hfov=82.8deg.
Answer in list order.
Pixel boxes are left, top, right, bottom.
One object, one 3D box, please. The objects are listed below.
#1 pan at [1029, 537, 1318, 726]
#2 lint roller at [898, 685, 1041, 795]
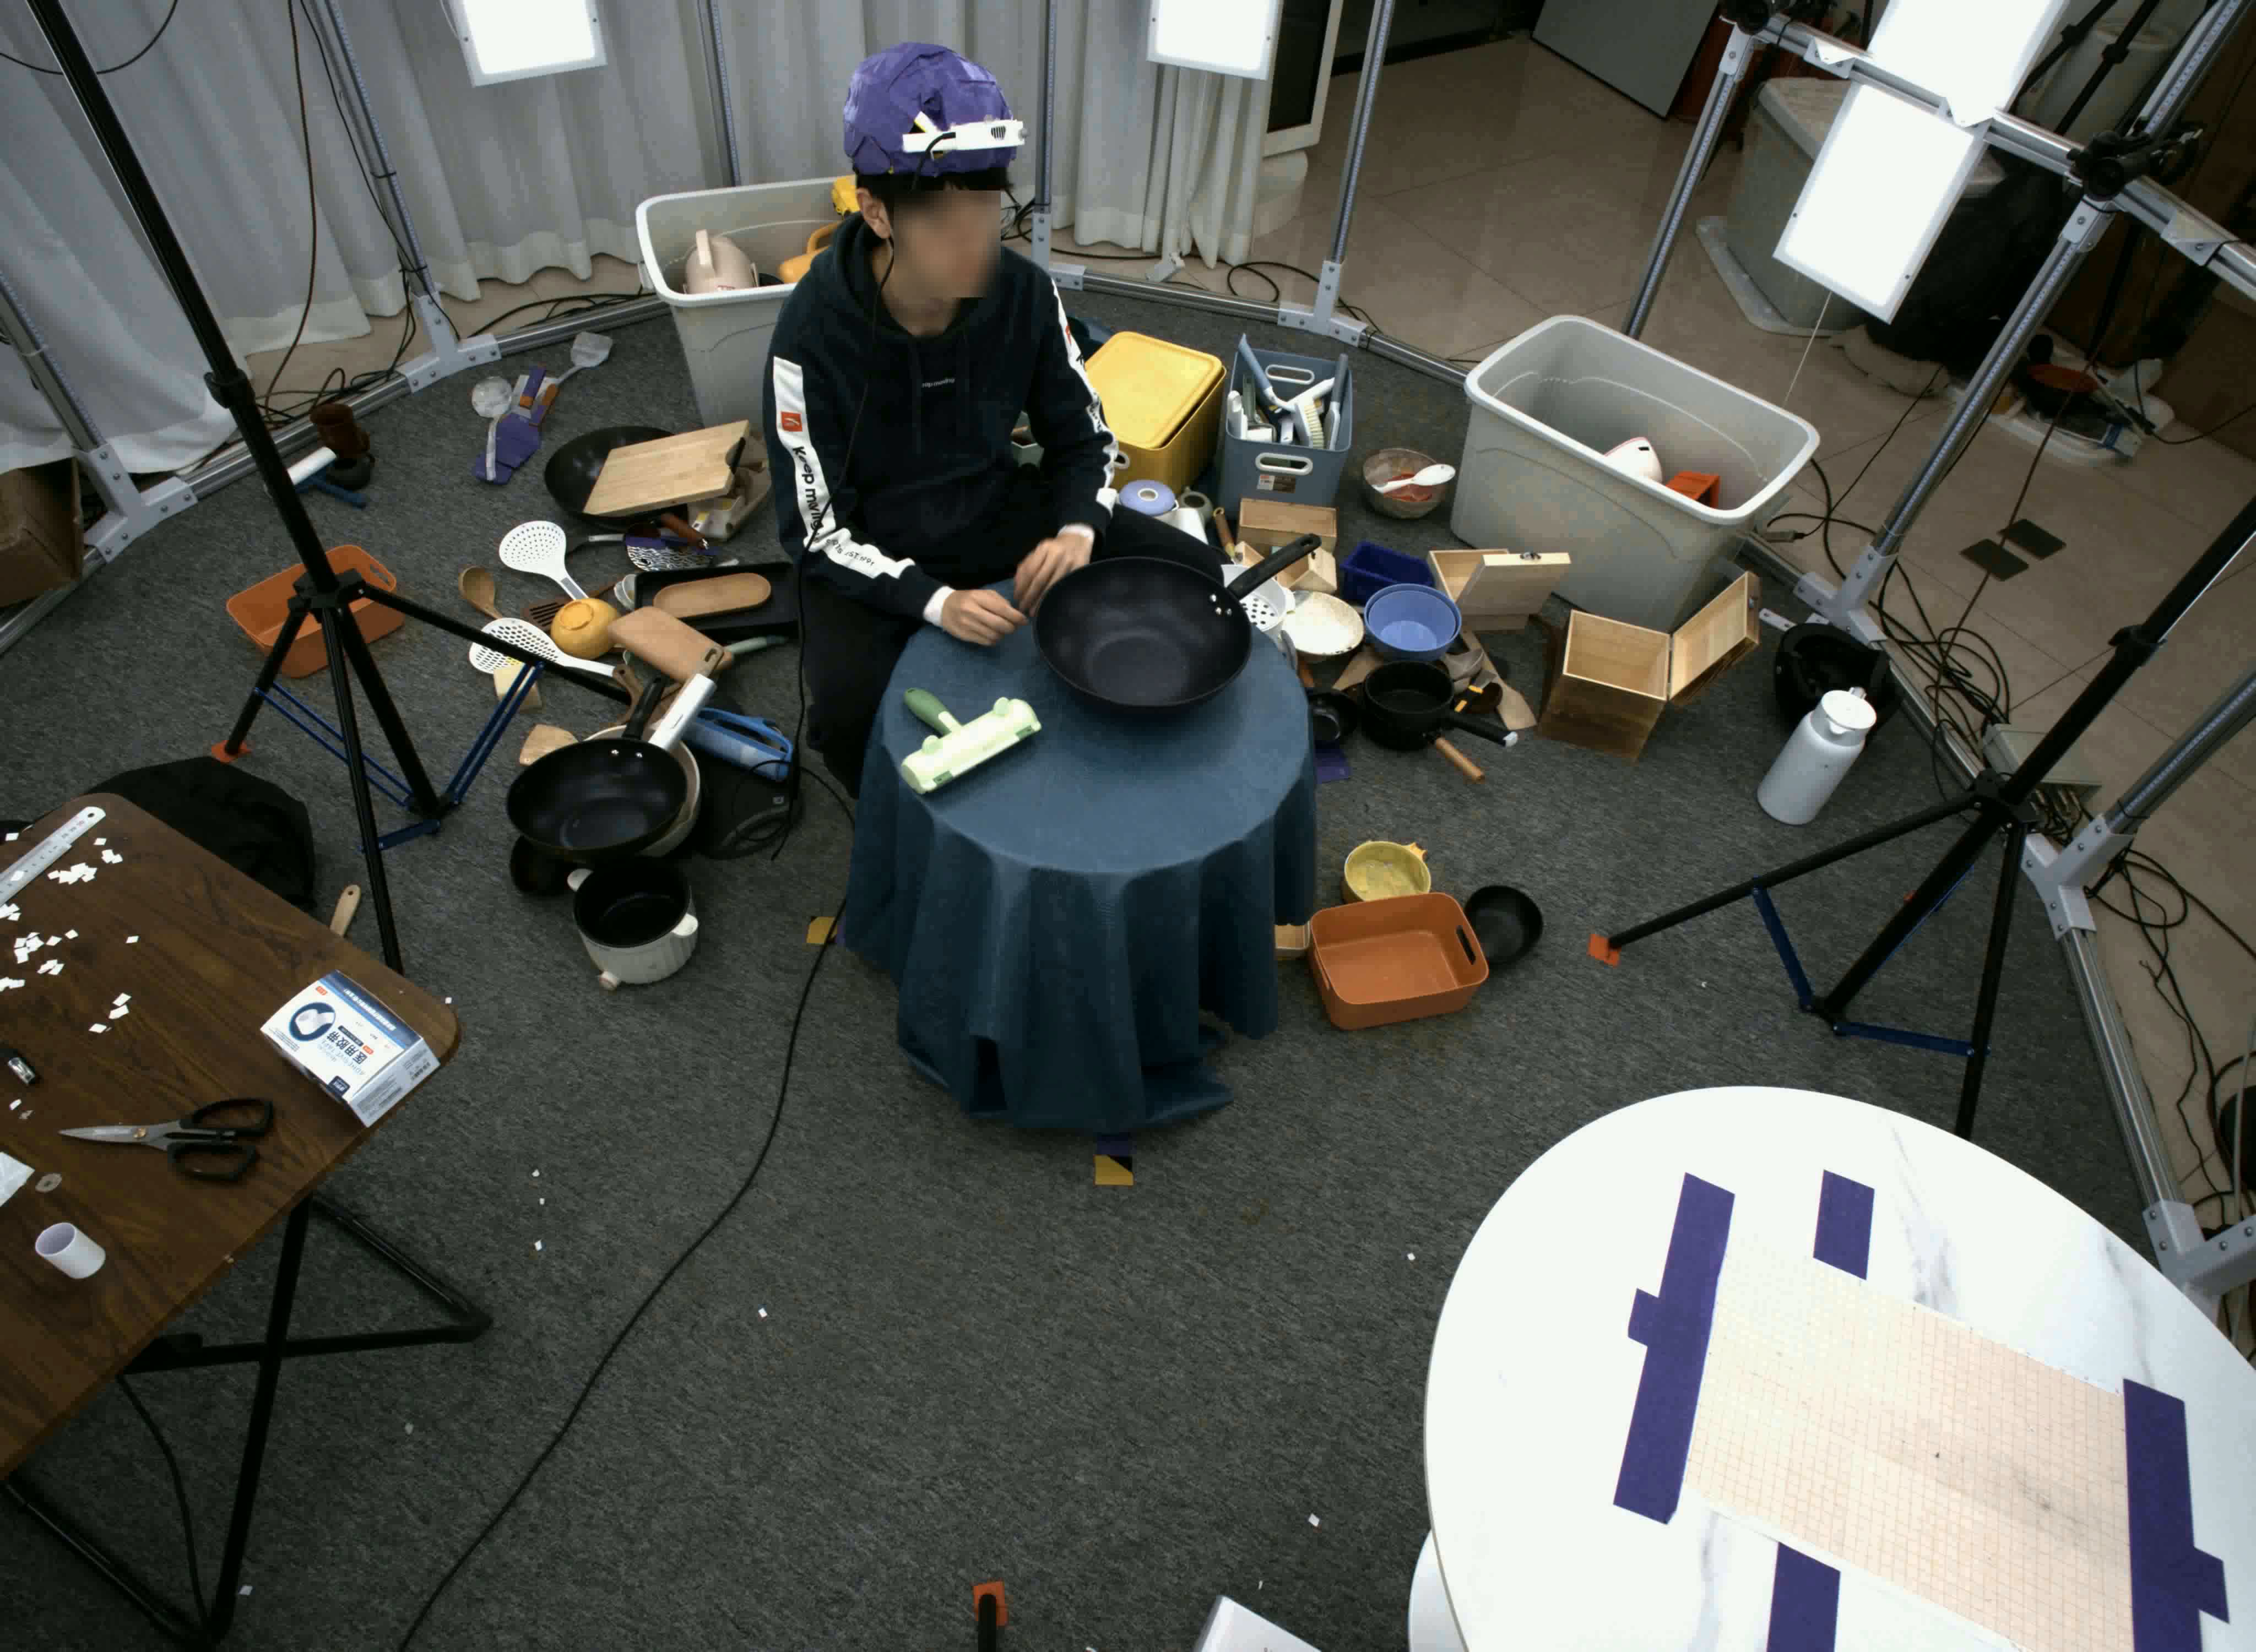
[{"bbox_3d":[0.082,-0.291,1.857,0.479,0.109,0.316,-28,58,-24],"label":"pan"},{"bbox_3d":[-0.246,-0.148,1.732,0.200,0.080,0.186,-32,63,-27],"label":"lint roller"}]
